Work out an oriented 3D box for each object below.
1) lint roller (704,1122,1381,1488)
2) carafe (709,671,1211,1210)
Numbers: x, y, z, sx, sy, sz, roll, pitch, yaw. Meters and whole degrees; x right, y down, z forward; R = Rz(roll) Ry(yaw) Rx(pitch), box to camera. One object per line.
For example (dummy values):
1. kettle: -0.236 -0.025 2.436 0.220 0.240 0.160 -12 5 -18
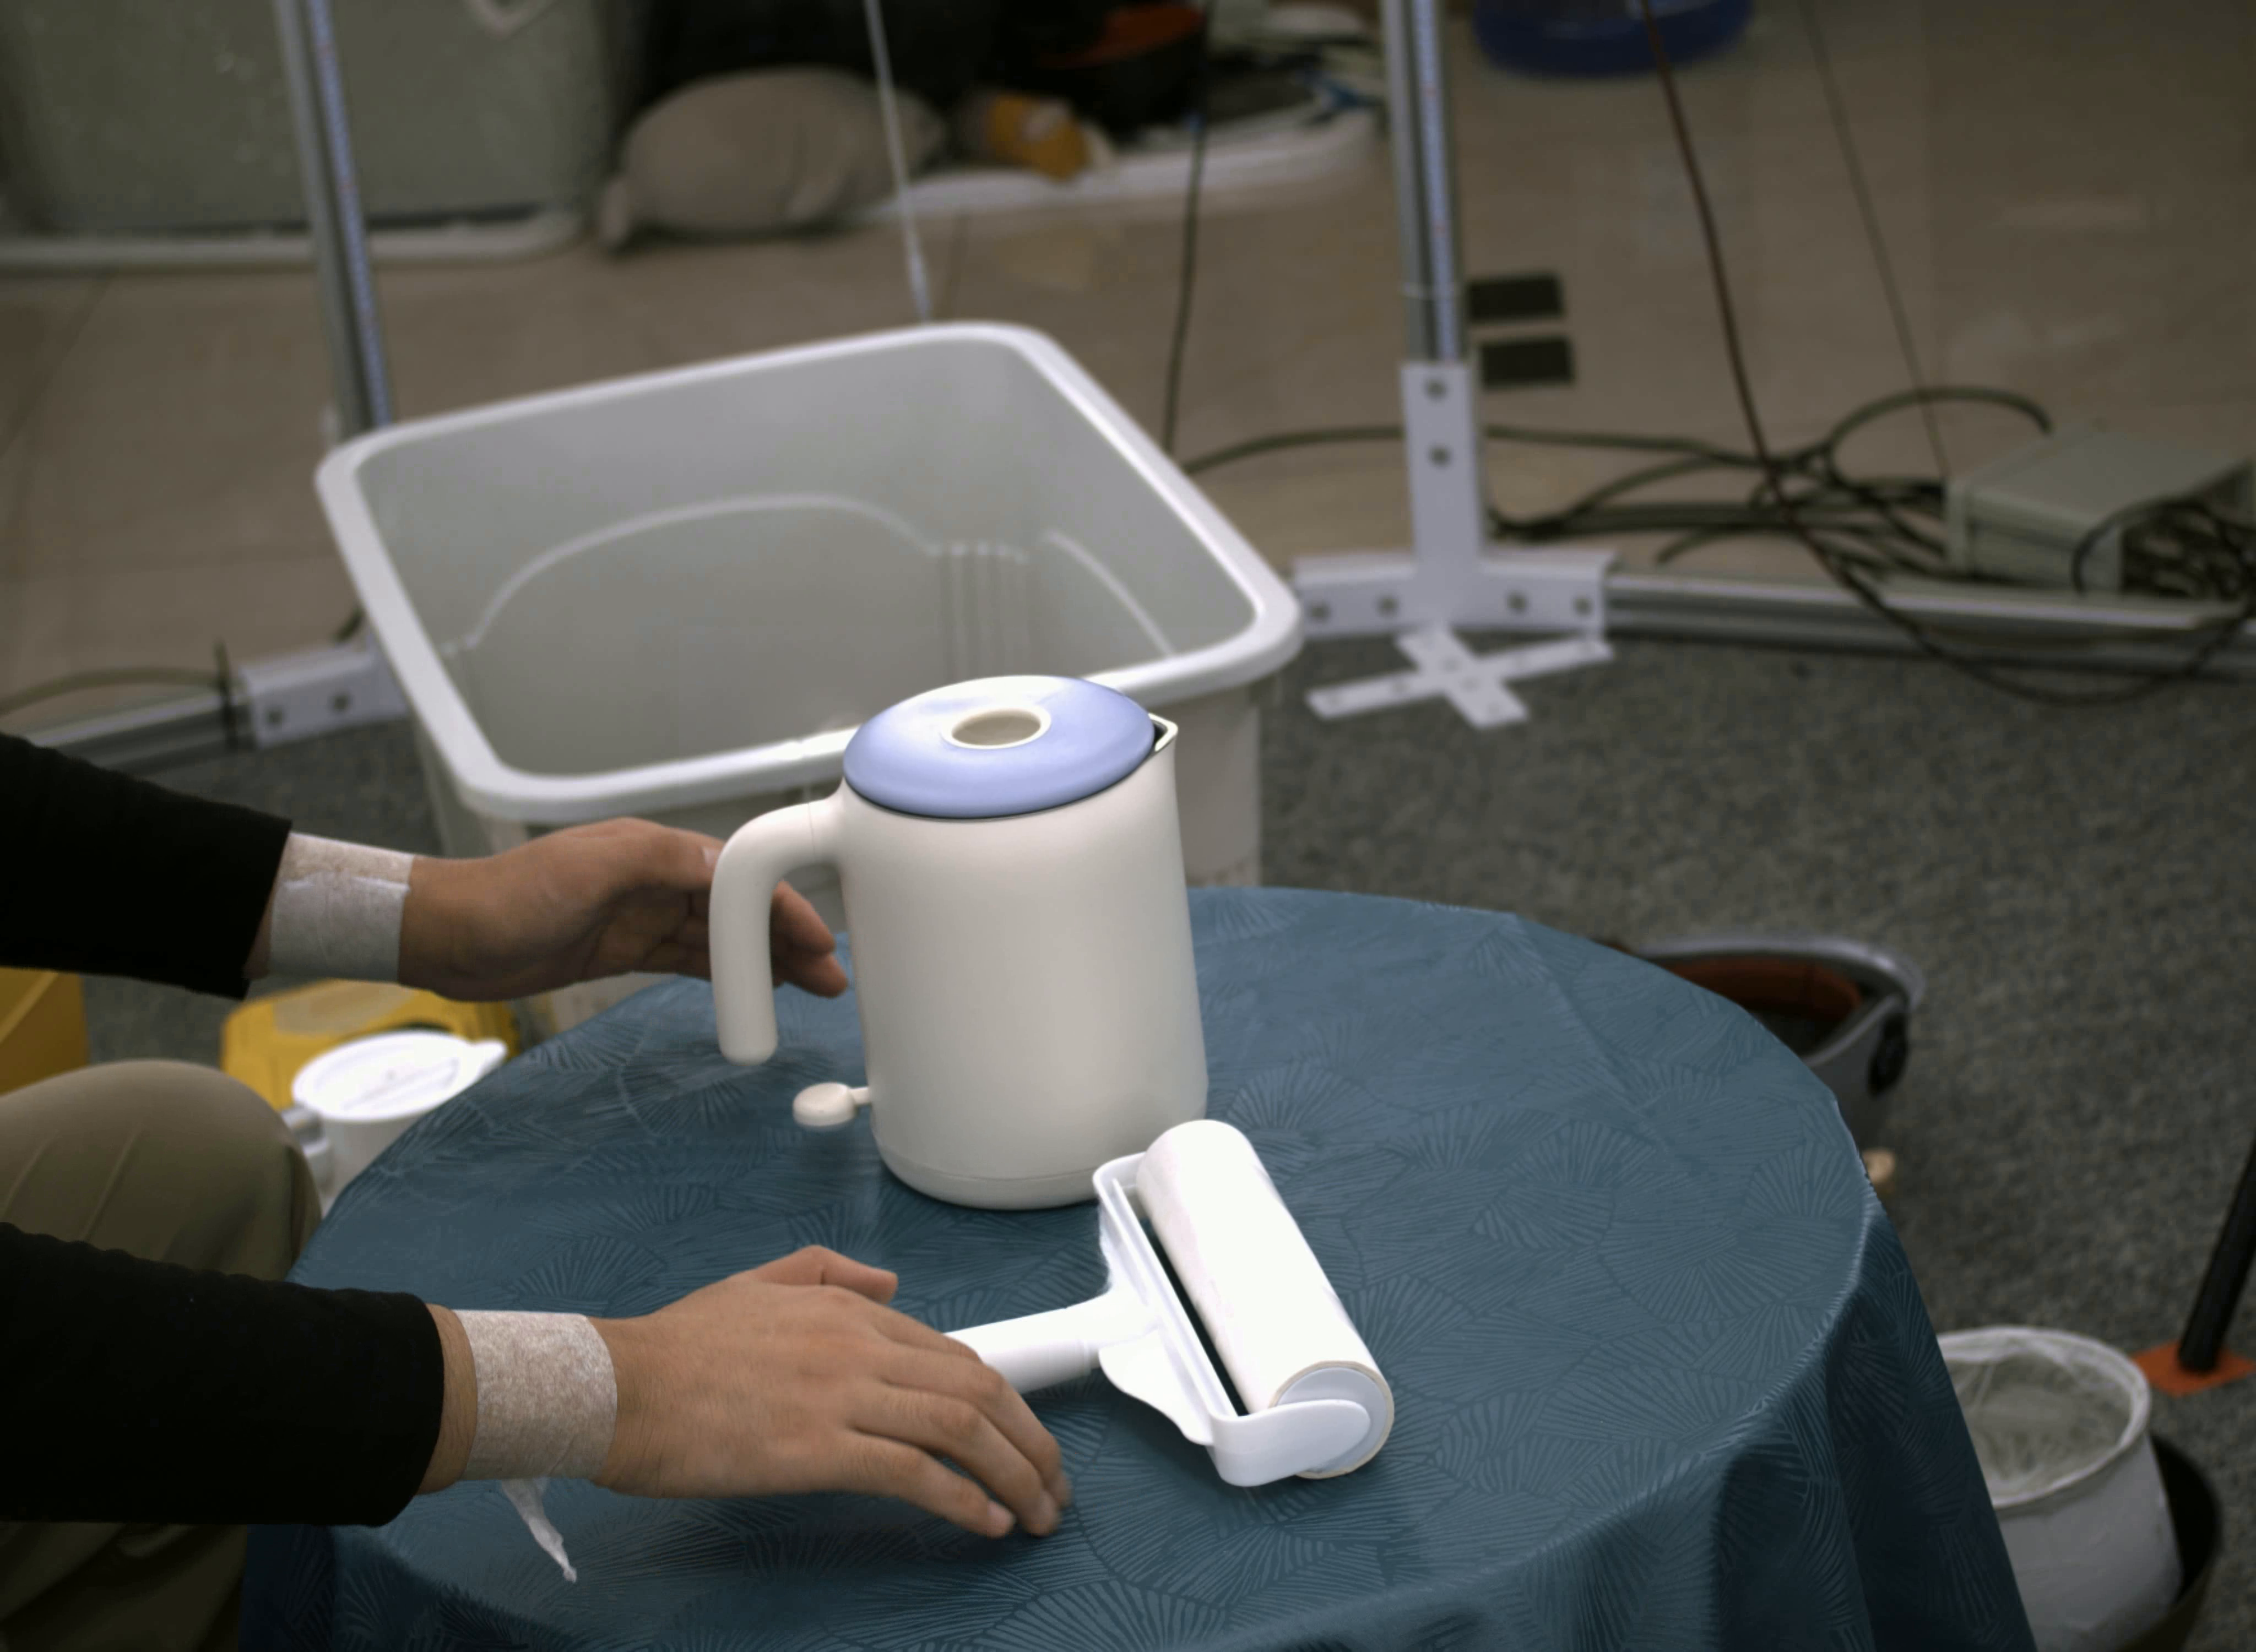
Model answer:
1. lint roller: -0.041 0.186 2.007 0.225 0.049 0.200 -12 27 -10
2. carafe: -0.065 0.047 2.154 0.191 0.185 0.130 -11 25 -4
